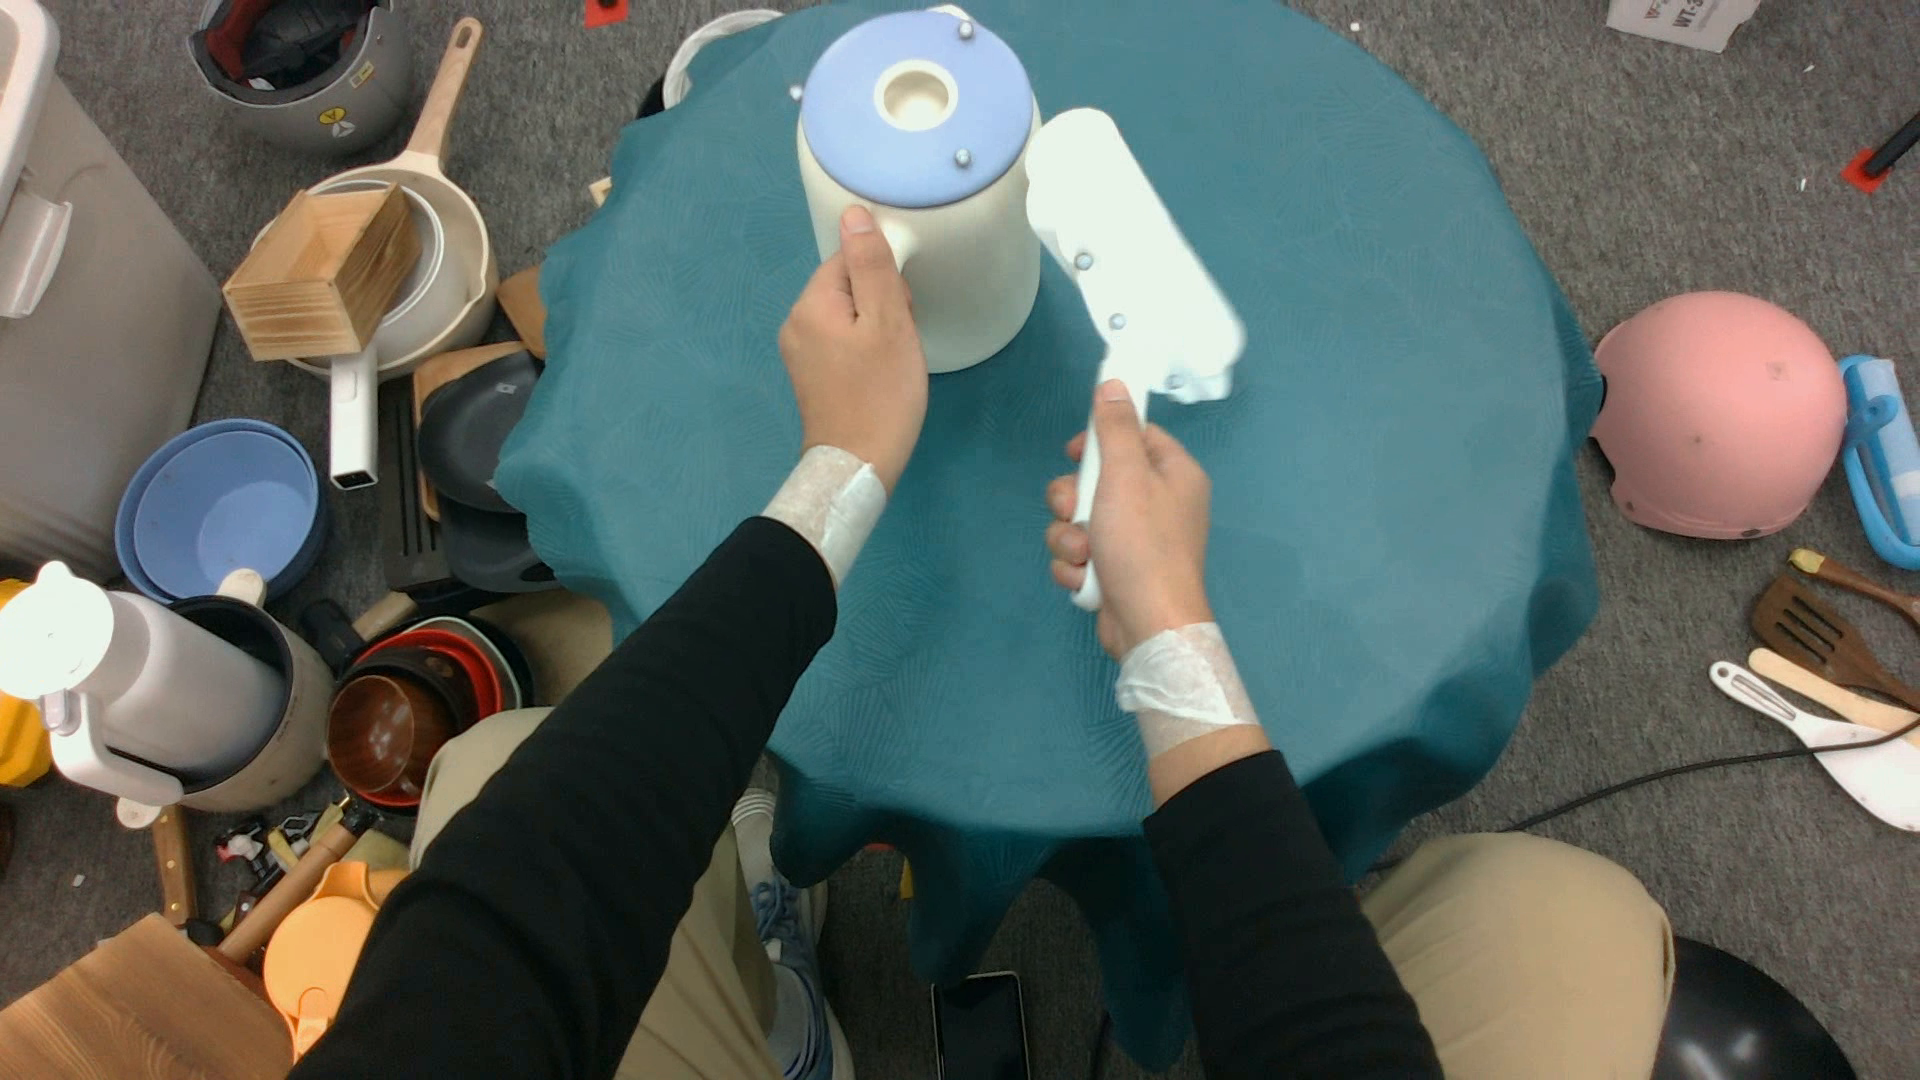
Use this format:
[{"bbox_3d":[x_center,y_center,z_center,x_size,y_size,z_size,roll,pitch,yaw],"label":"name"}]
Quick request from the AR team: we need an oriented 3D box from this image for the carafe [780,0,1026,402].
[{"bbox_3d":[-0.034,-0.174,0.770,0.132,0.182,0.191,11,71,6],"label":"carafe"}]

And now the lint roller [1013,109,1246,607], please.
[{"bbox_3d":[0.084,-0.074,0.702,0.048,0.202,0.226,-6,66,33],"label":"lint roller"}]
